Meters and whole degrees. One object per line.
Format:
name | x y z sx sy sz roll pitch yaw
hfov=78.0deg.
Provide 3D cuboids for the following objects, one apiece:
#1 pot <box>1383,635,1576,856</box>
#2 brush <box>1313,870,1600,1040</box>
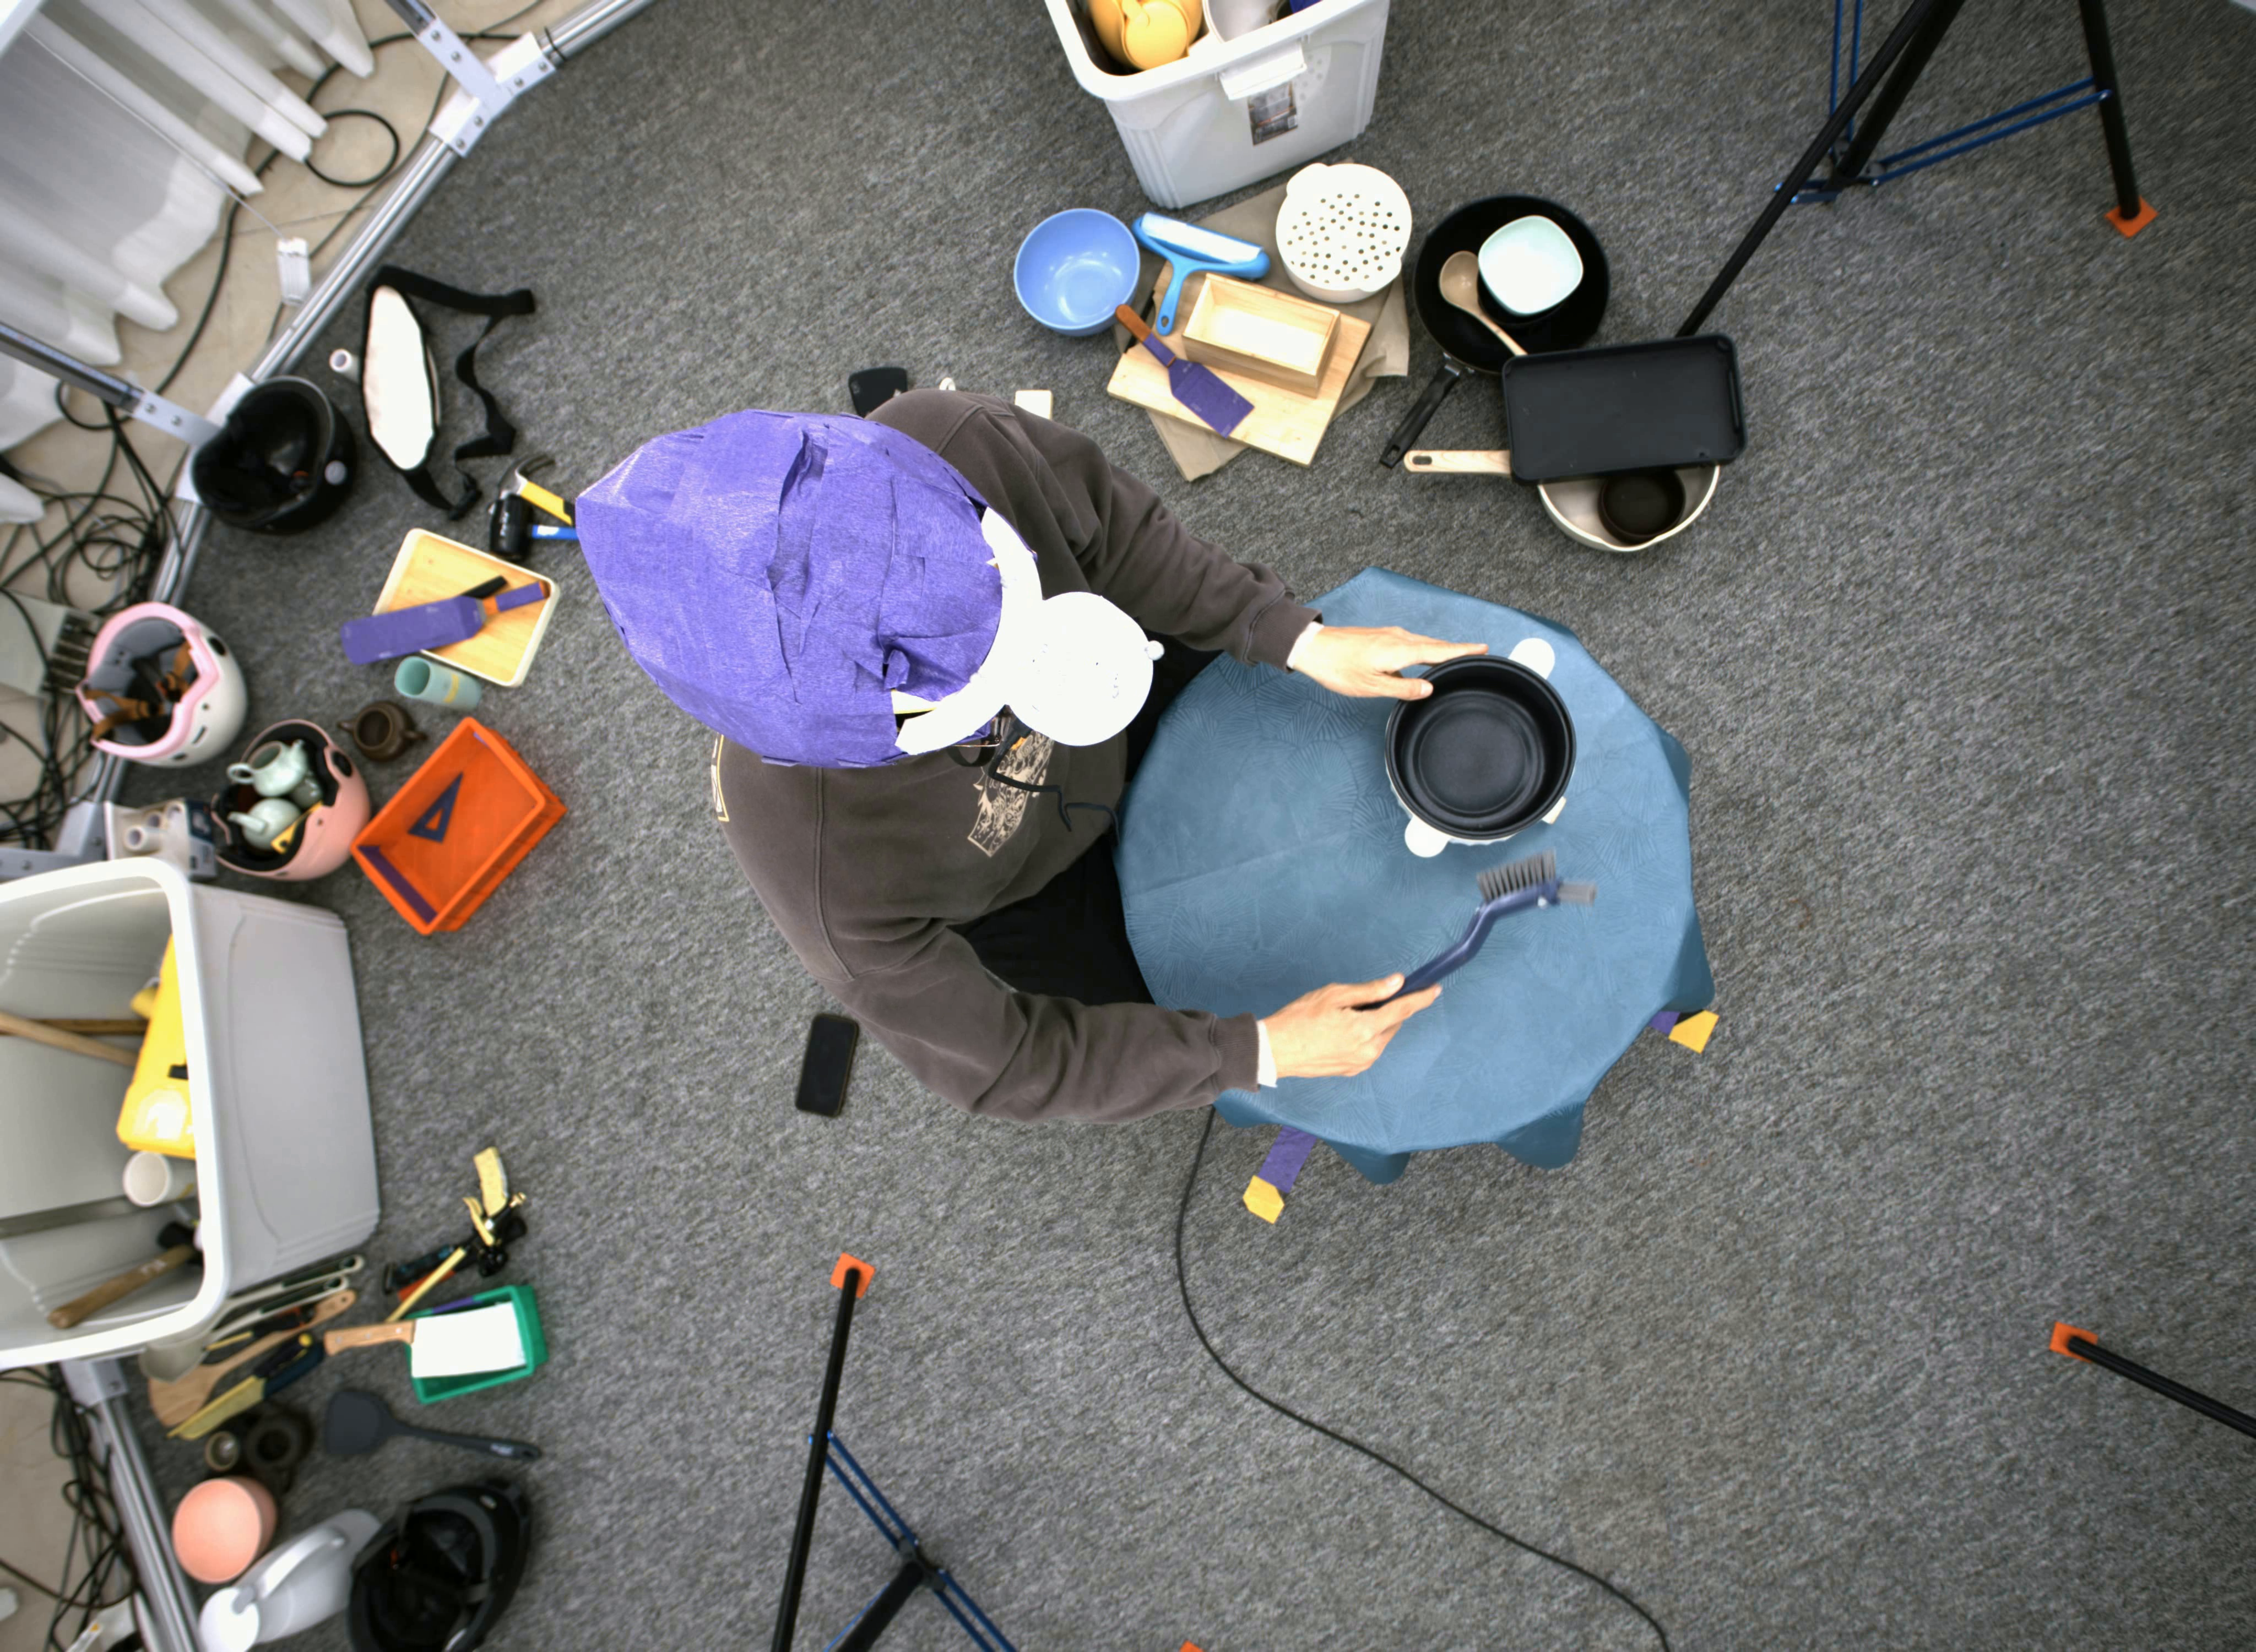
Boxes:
pot | 0.354 -0.072 1.378 0.190 0.142 0.241 31 94 14
brush | 0.297 0.133 1.274 0.276 0.034 0.094 -41 57 12
